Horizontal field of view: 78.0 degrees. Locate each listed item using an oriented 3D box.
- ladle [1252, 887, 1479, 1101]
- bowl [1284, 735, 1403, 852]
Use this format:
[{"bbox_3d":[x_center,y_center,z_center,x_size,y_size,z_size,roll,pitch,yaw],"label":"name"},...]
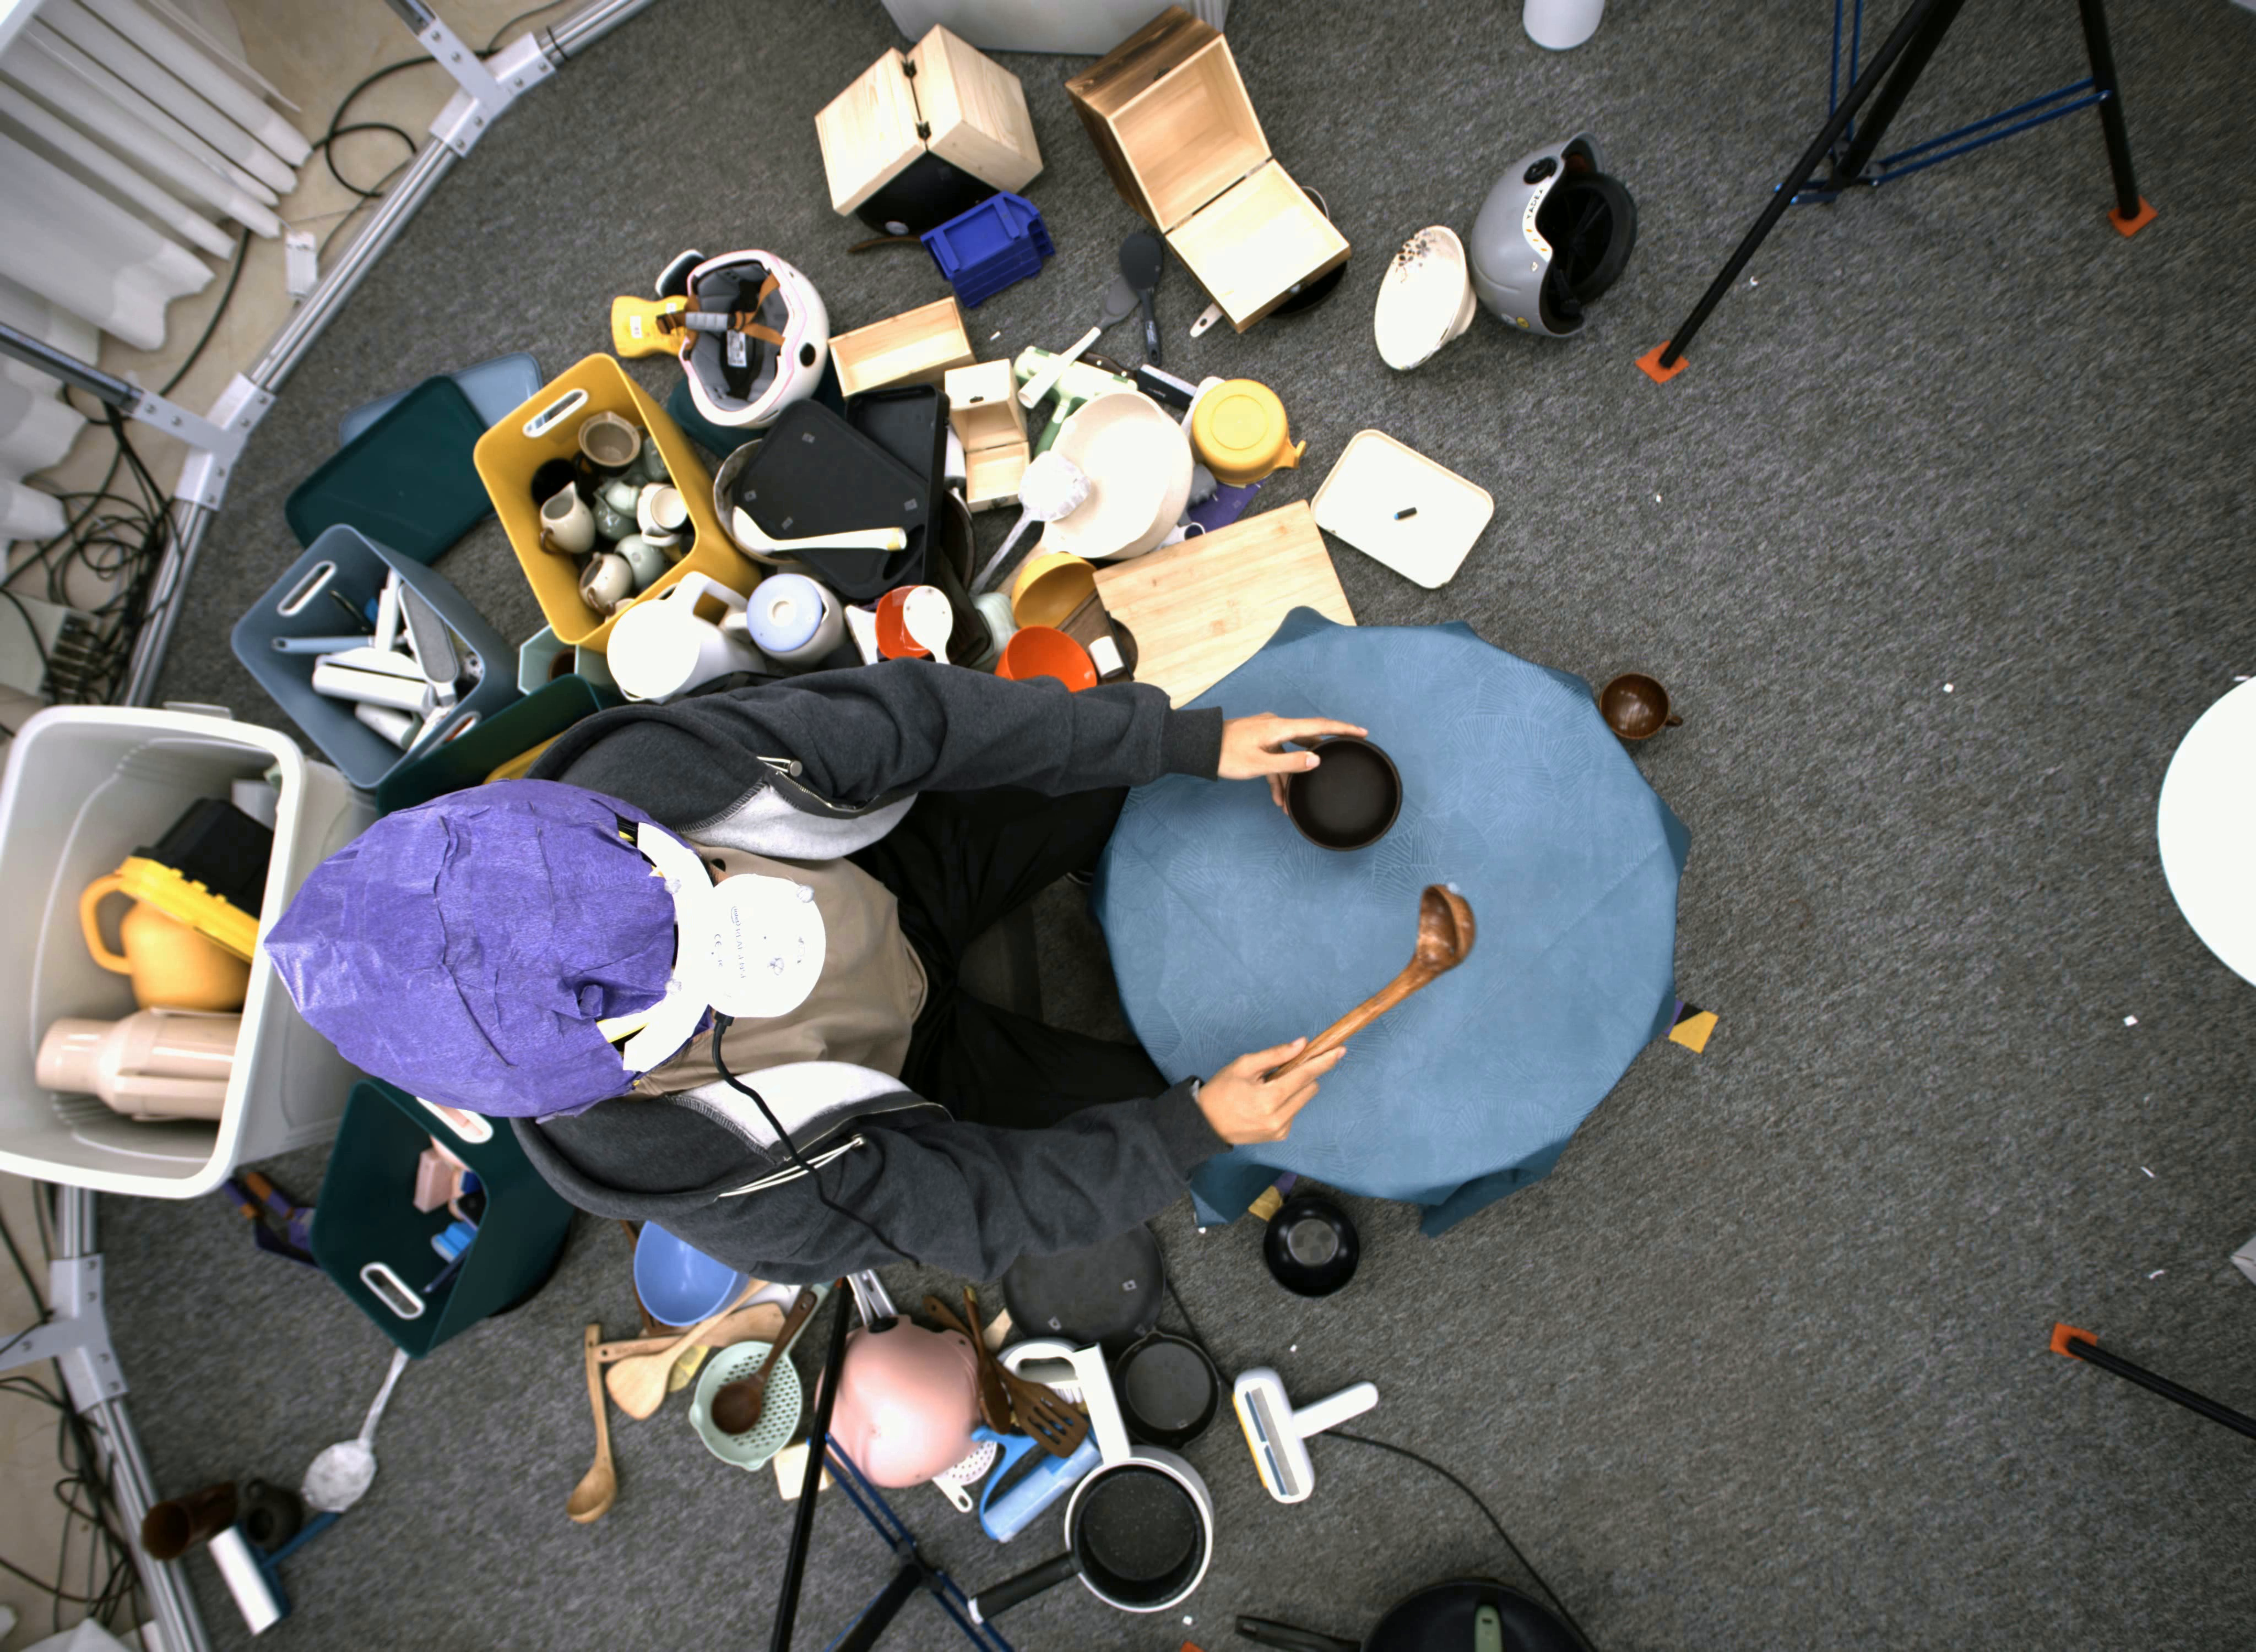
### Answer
[{"bbox_3d":[0.214,0.159,1.300,0.276,0.080,0.077,-37,122,10],"label":"ladle"},{"bbox_3d":[0.220,-0.035,1.397,0.118,0.069,0.119,2,98,15],"label":"bowl"}]
